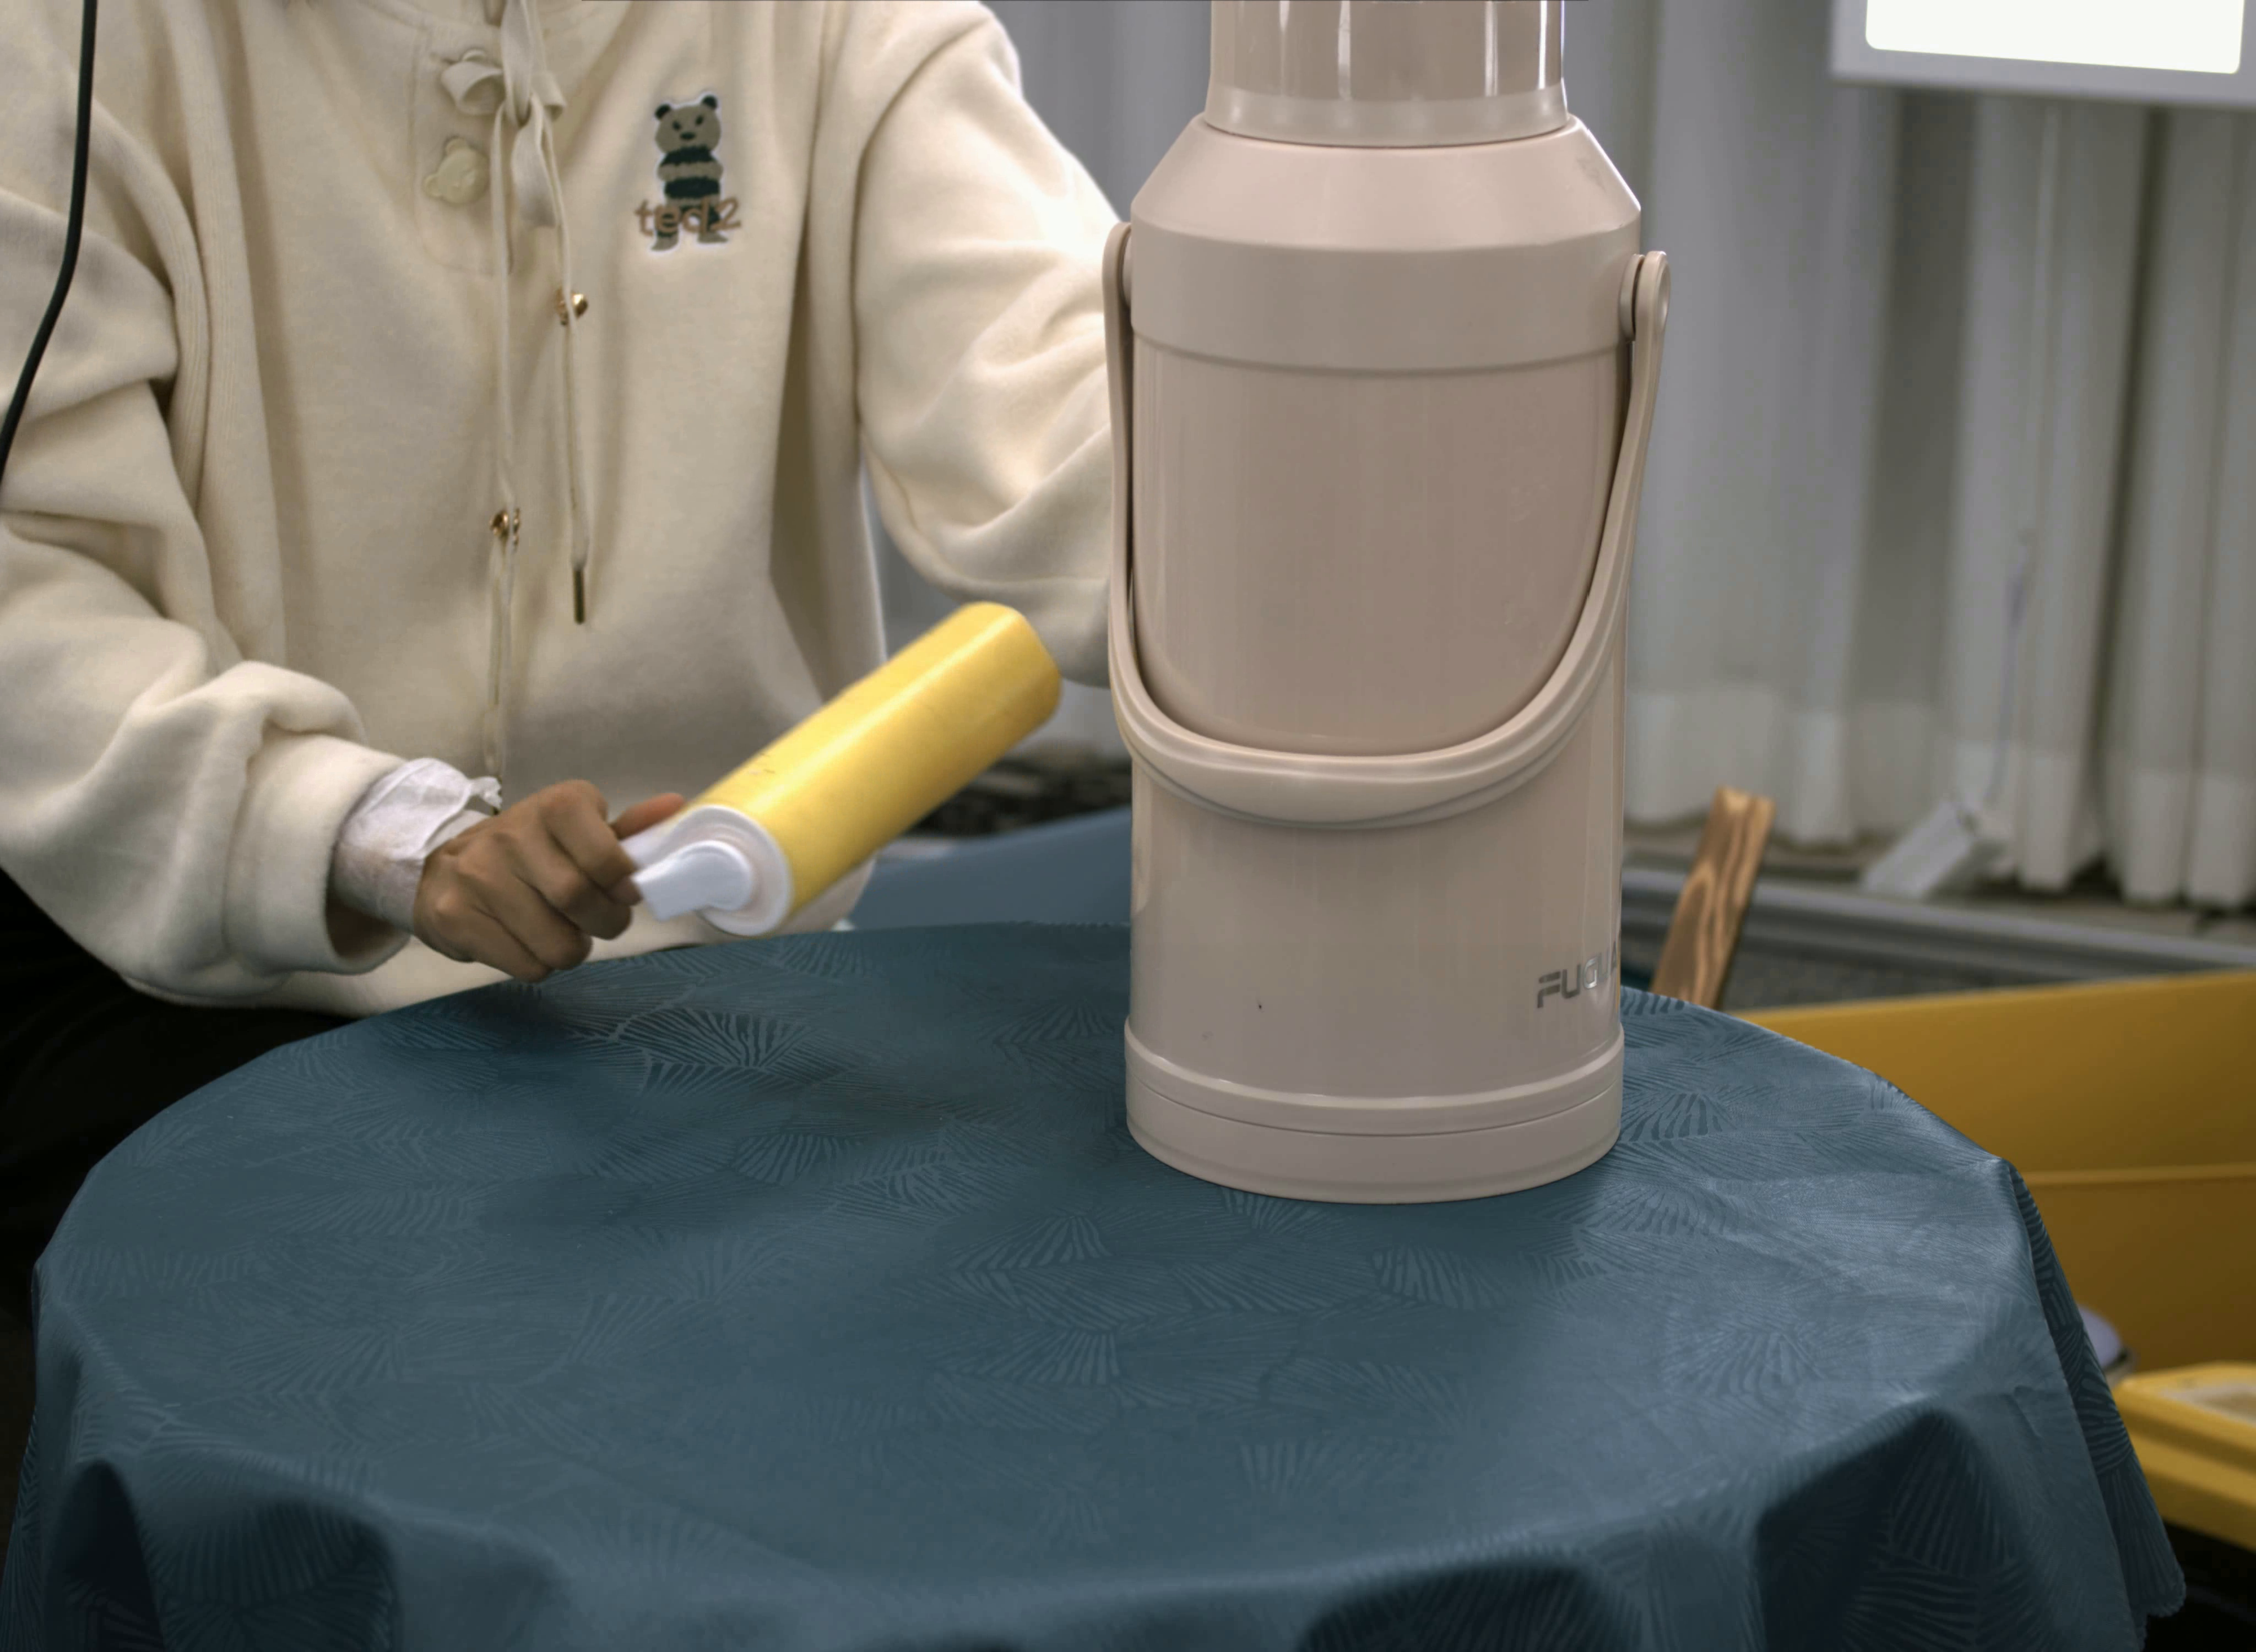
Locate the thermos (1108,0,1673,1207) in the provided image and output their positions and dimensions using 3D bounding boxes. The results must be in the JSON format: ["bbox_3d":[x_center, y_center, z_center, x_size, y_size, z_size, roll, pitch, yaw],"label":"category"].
[{"bbox_3d":[0.084,-0.099,1.641,0.174,0.409,0.207,5,17,17],"label":"thermos"}]

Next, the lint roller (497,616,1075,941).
[{"bbox_3d":[-0.135,-0.009,1.714,0.190,0.052,0.174,-5,21,33],"label":"lint roller"}]
